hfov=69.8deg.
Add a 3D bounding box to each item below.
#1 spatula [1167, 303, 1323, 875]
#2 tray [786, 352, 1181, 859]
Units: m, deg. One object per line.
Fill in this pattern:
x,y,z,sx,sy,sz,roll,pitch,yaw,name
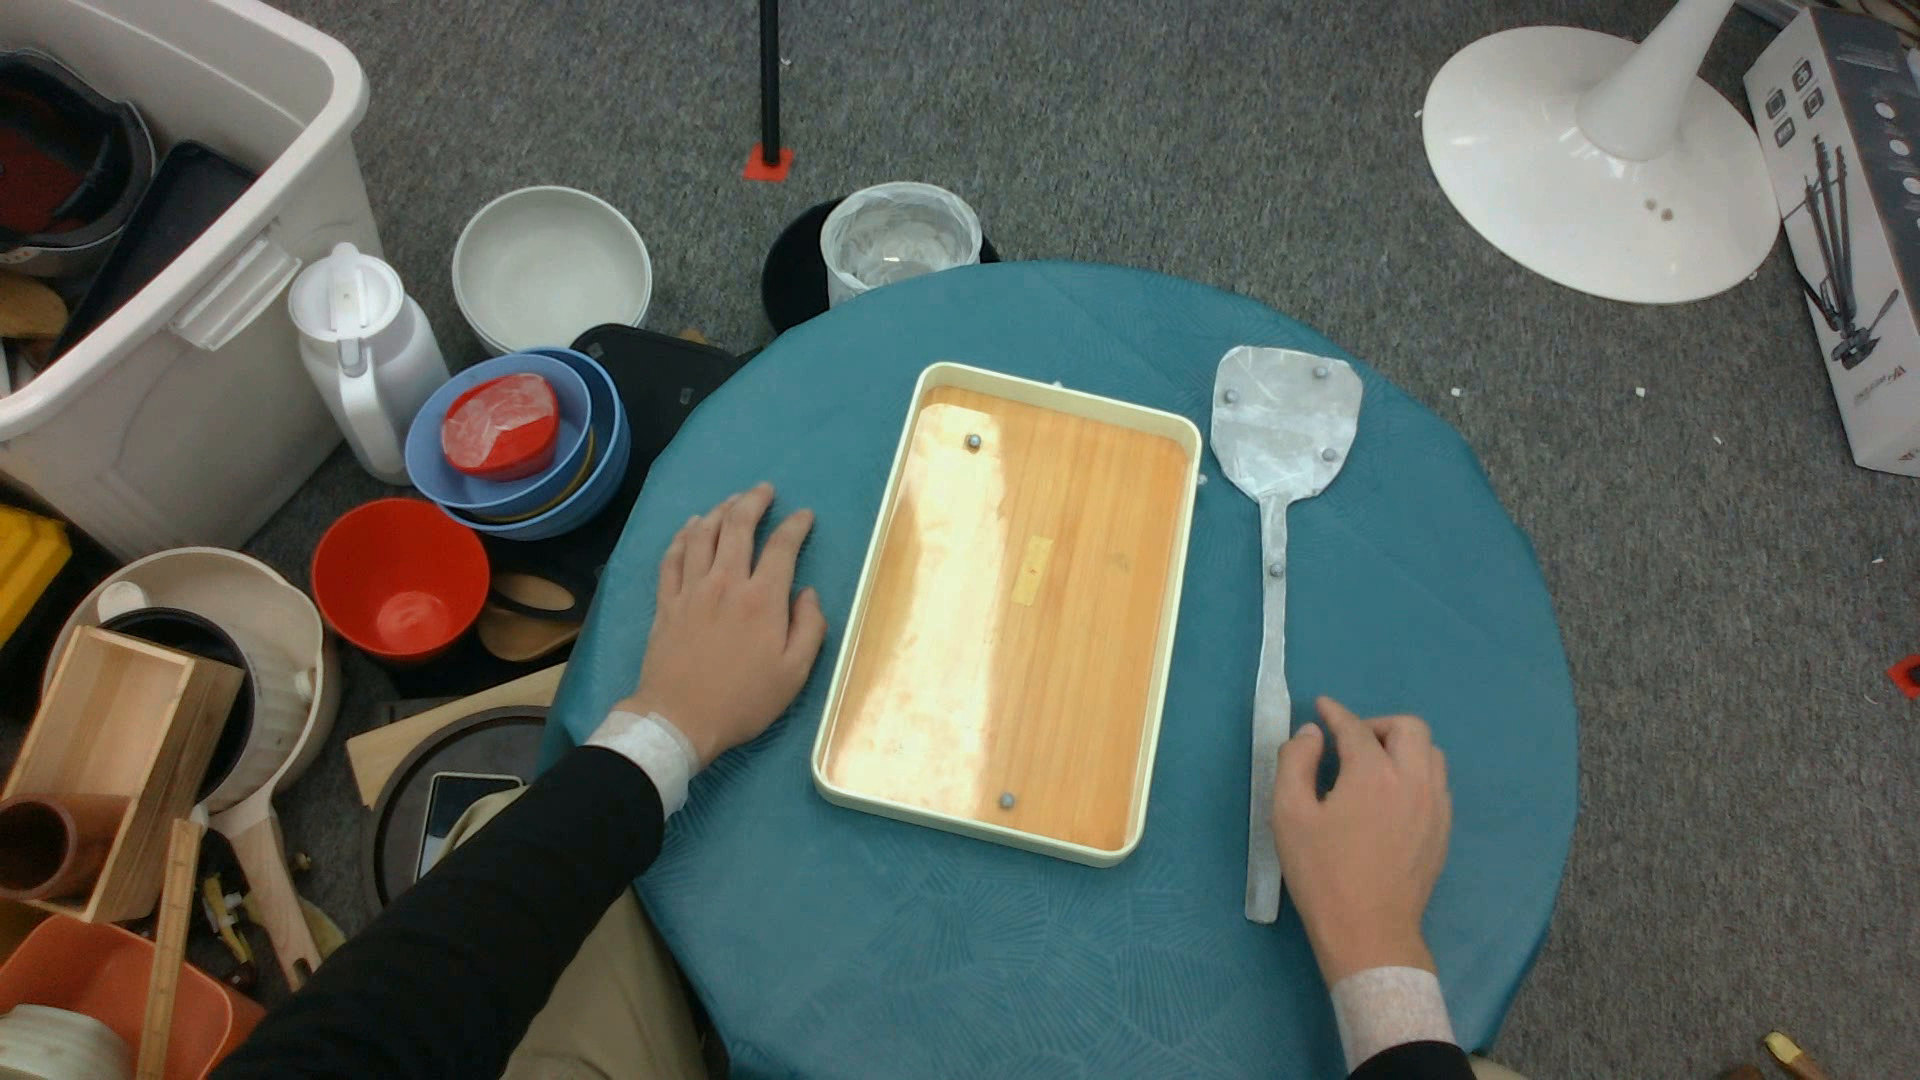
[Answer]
0.193,0.019,0.854,0.098,0.044,0.366,-6,65,9,spatula
0.022,0.029,0.835,0.191,0.027,0.301,14,61,0,tray
